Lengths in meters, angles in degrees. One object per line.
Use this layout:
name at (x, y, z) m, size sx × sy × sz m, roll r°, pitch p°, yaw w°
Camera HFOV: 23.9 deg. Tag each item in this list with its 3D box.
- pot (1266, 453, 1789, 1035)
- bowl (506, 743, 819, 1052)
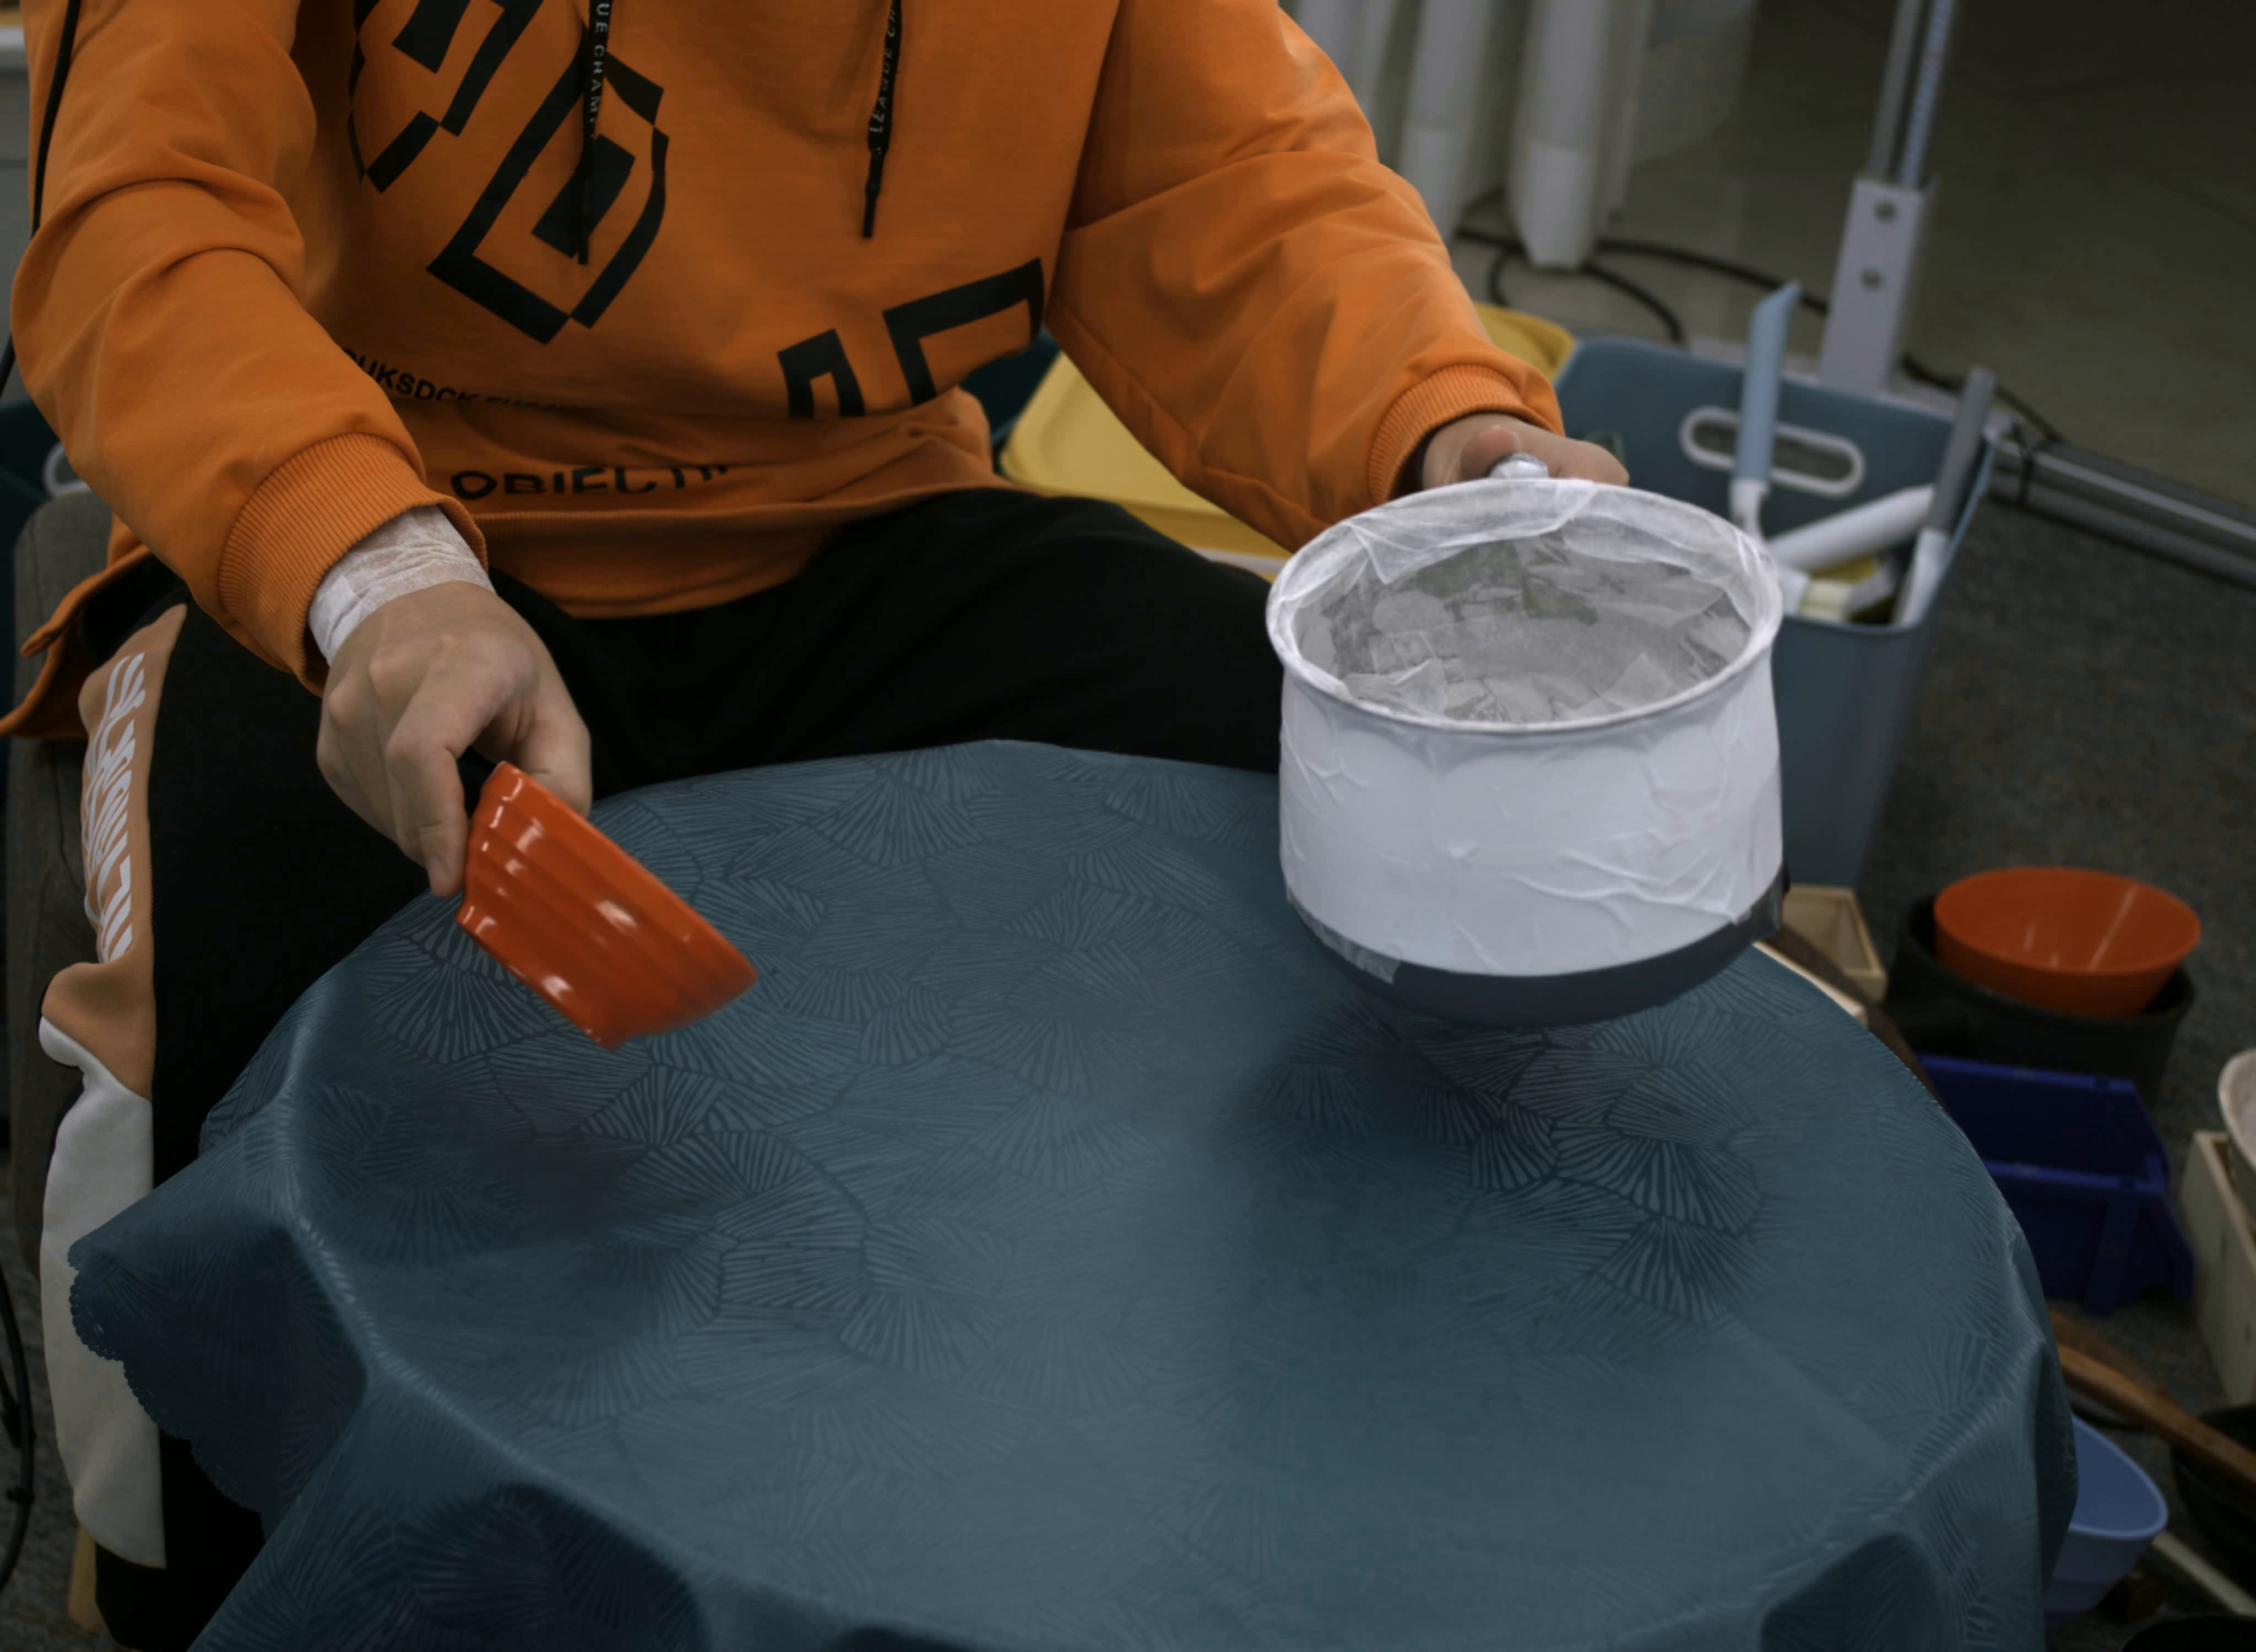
pot at (0.139, -0.036, 1.864) m, size 0.178 × 0.136 × 0.235 m, roll -2°, pitch 31°, yaw 3°
bowl at (-0.159, 0.031, 1.735) m, size 0.118 × 0.051 × 0.119 m, roll 47°, pitch 7°, yaw -8°
